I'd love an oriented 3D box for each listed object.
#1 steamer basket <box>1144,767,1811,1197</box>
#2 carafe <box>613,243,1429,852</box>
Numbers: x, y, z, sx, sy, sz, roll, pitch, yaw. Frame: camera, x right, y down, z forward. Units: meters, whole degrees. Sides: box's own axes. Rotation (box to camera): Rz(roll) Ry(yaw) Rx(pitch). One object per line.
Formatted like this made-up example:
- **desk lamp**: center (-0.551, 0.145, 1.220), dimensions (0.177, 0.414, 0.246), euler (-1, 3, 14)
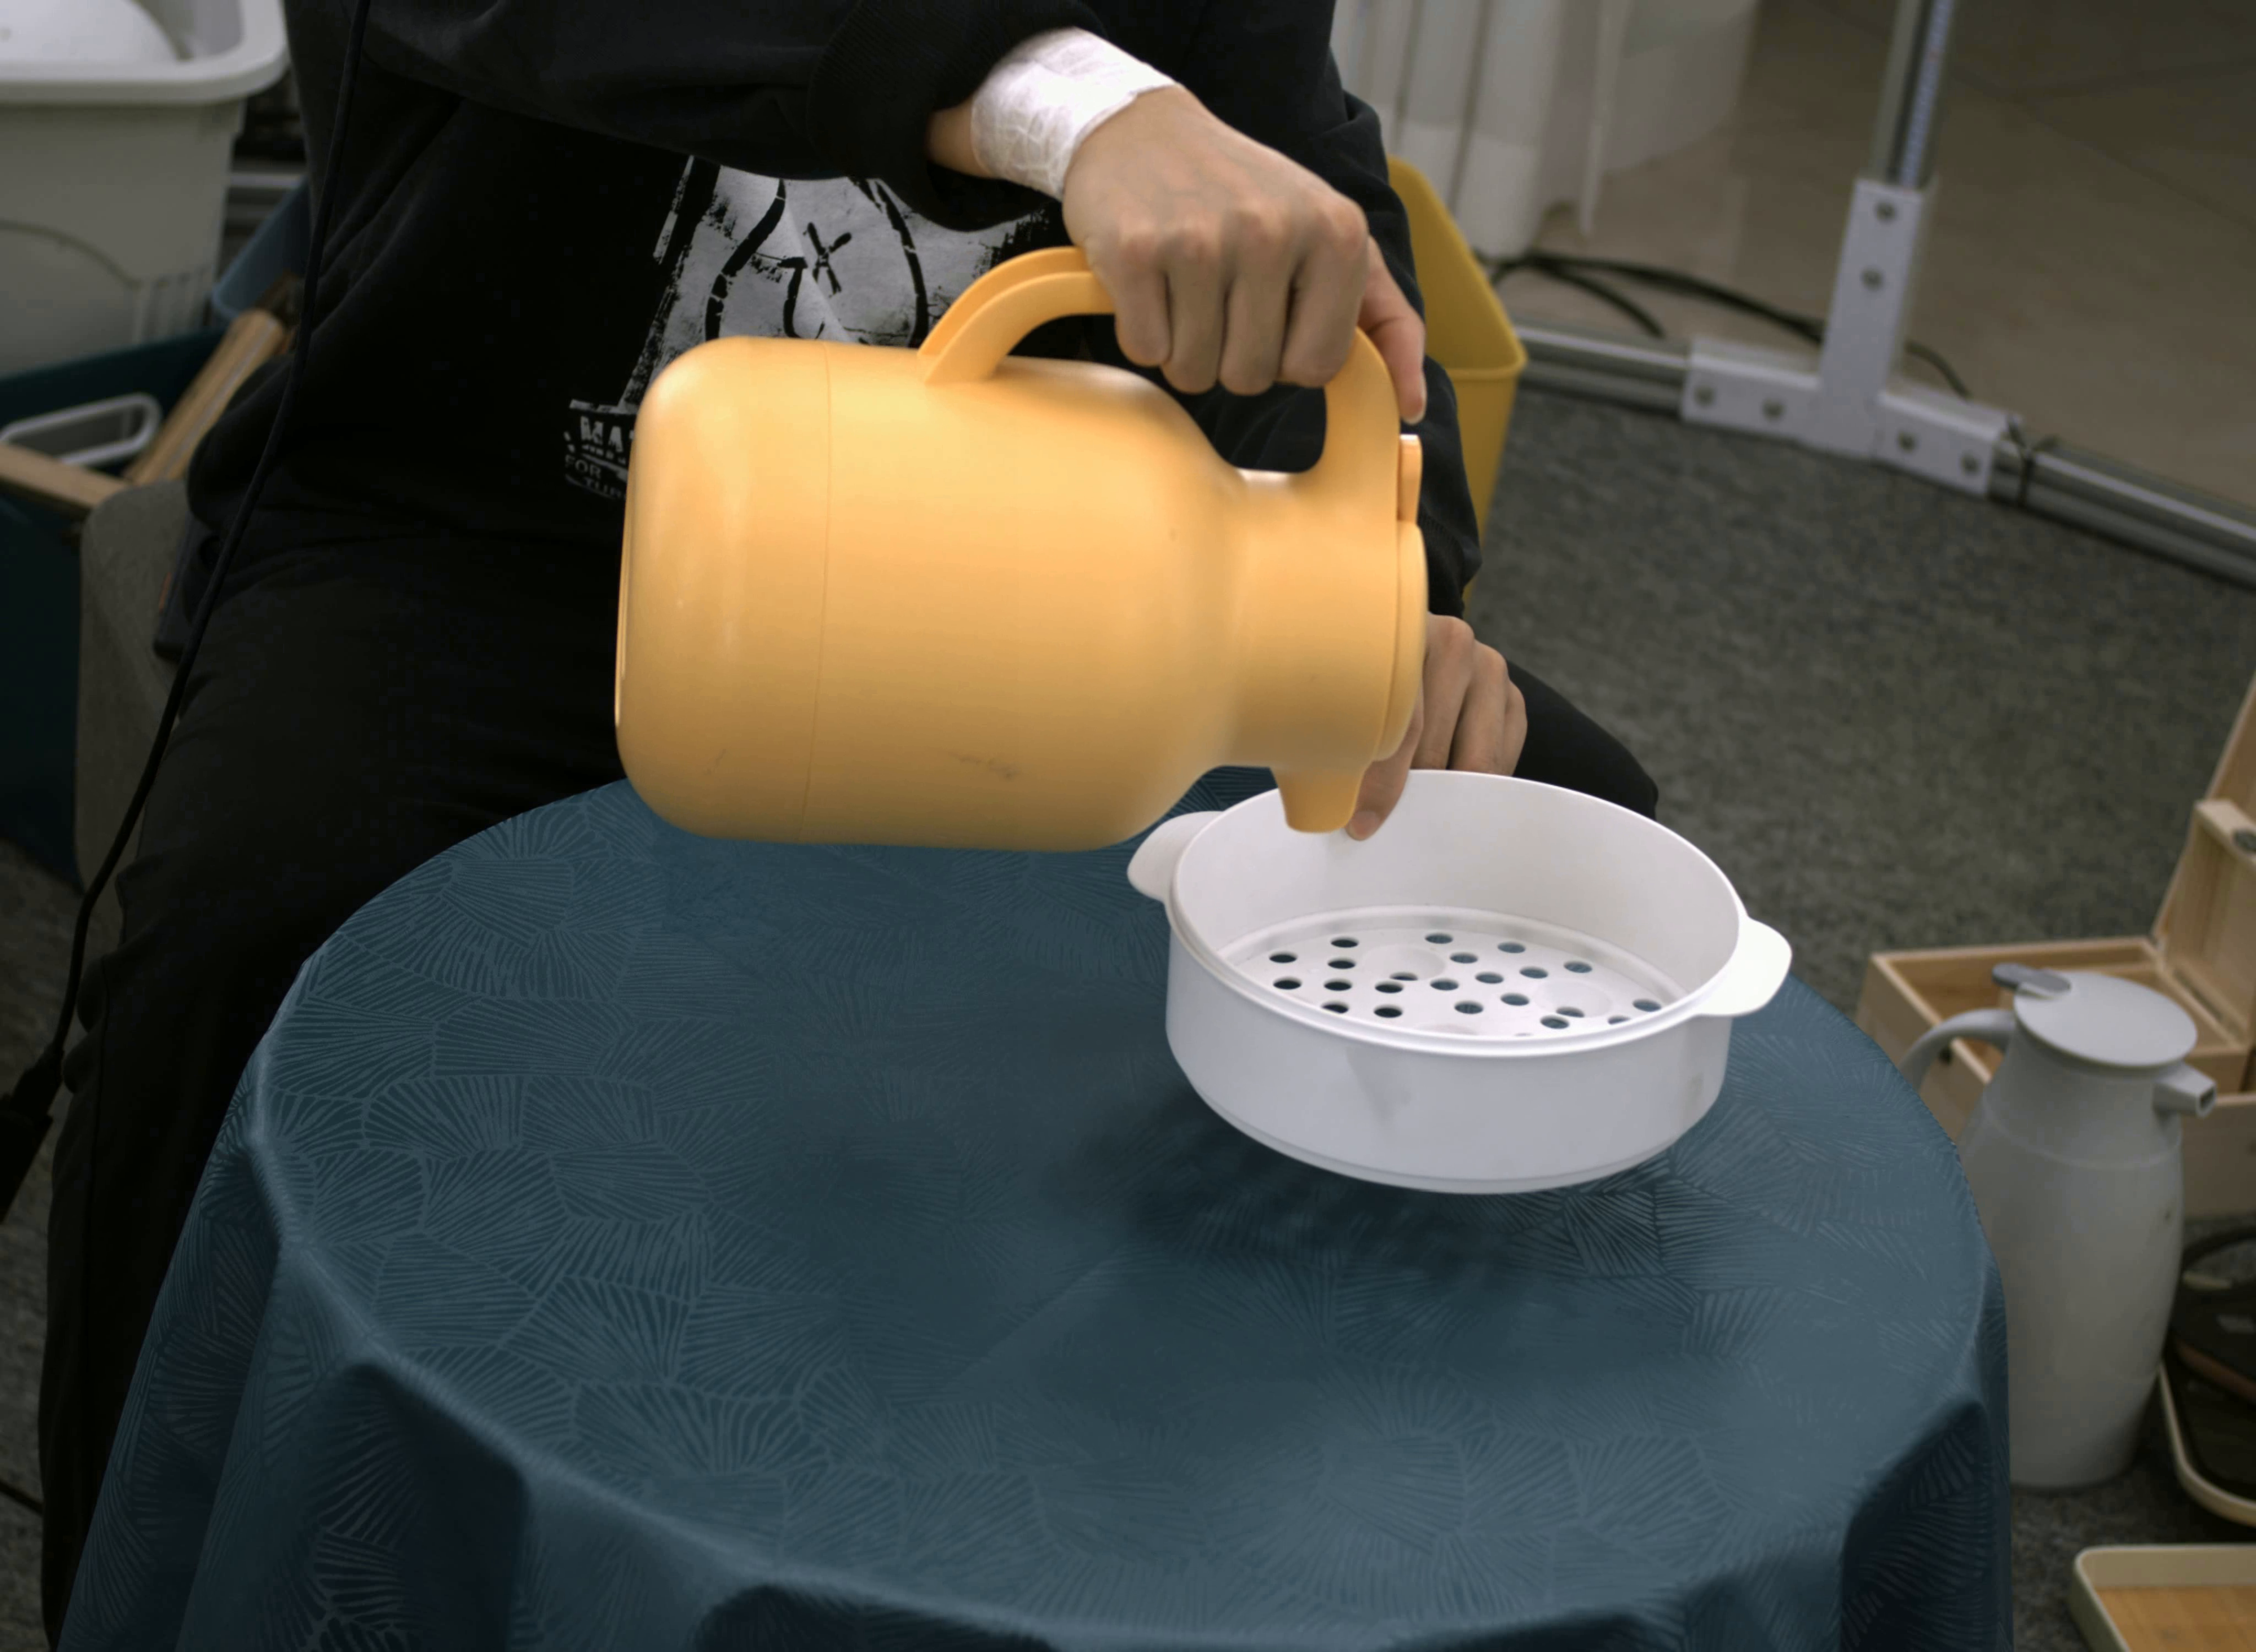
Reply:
- **steamer basket**: center (0.115, 0.053, 1.821), dimensions (0.231, 0.069, 0.202), euler (14, 28, 15)
- **carafe**: center (-0.032, -0.091, 1.724), dimensions (0.259, 0.202, 0.164), euler (4, 22, -10)
